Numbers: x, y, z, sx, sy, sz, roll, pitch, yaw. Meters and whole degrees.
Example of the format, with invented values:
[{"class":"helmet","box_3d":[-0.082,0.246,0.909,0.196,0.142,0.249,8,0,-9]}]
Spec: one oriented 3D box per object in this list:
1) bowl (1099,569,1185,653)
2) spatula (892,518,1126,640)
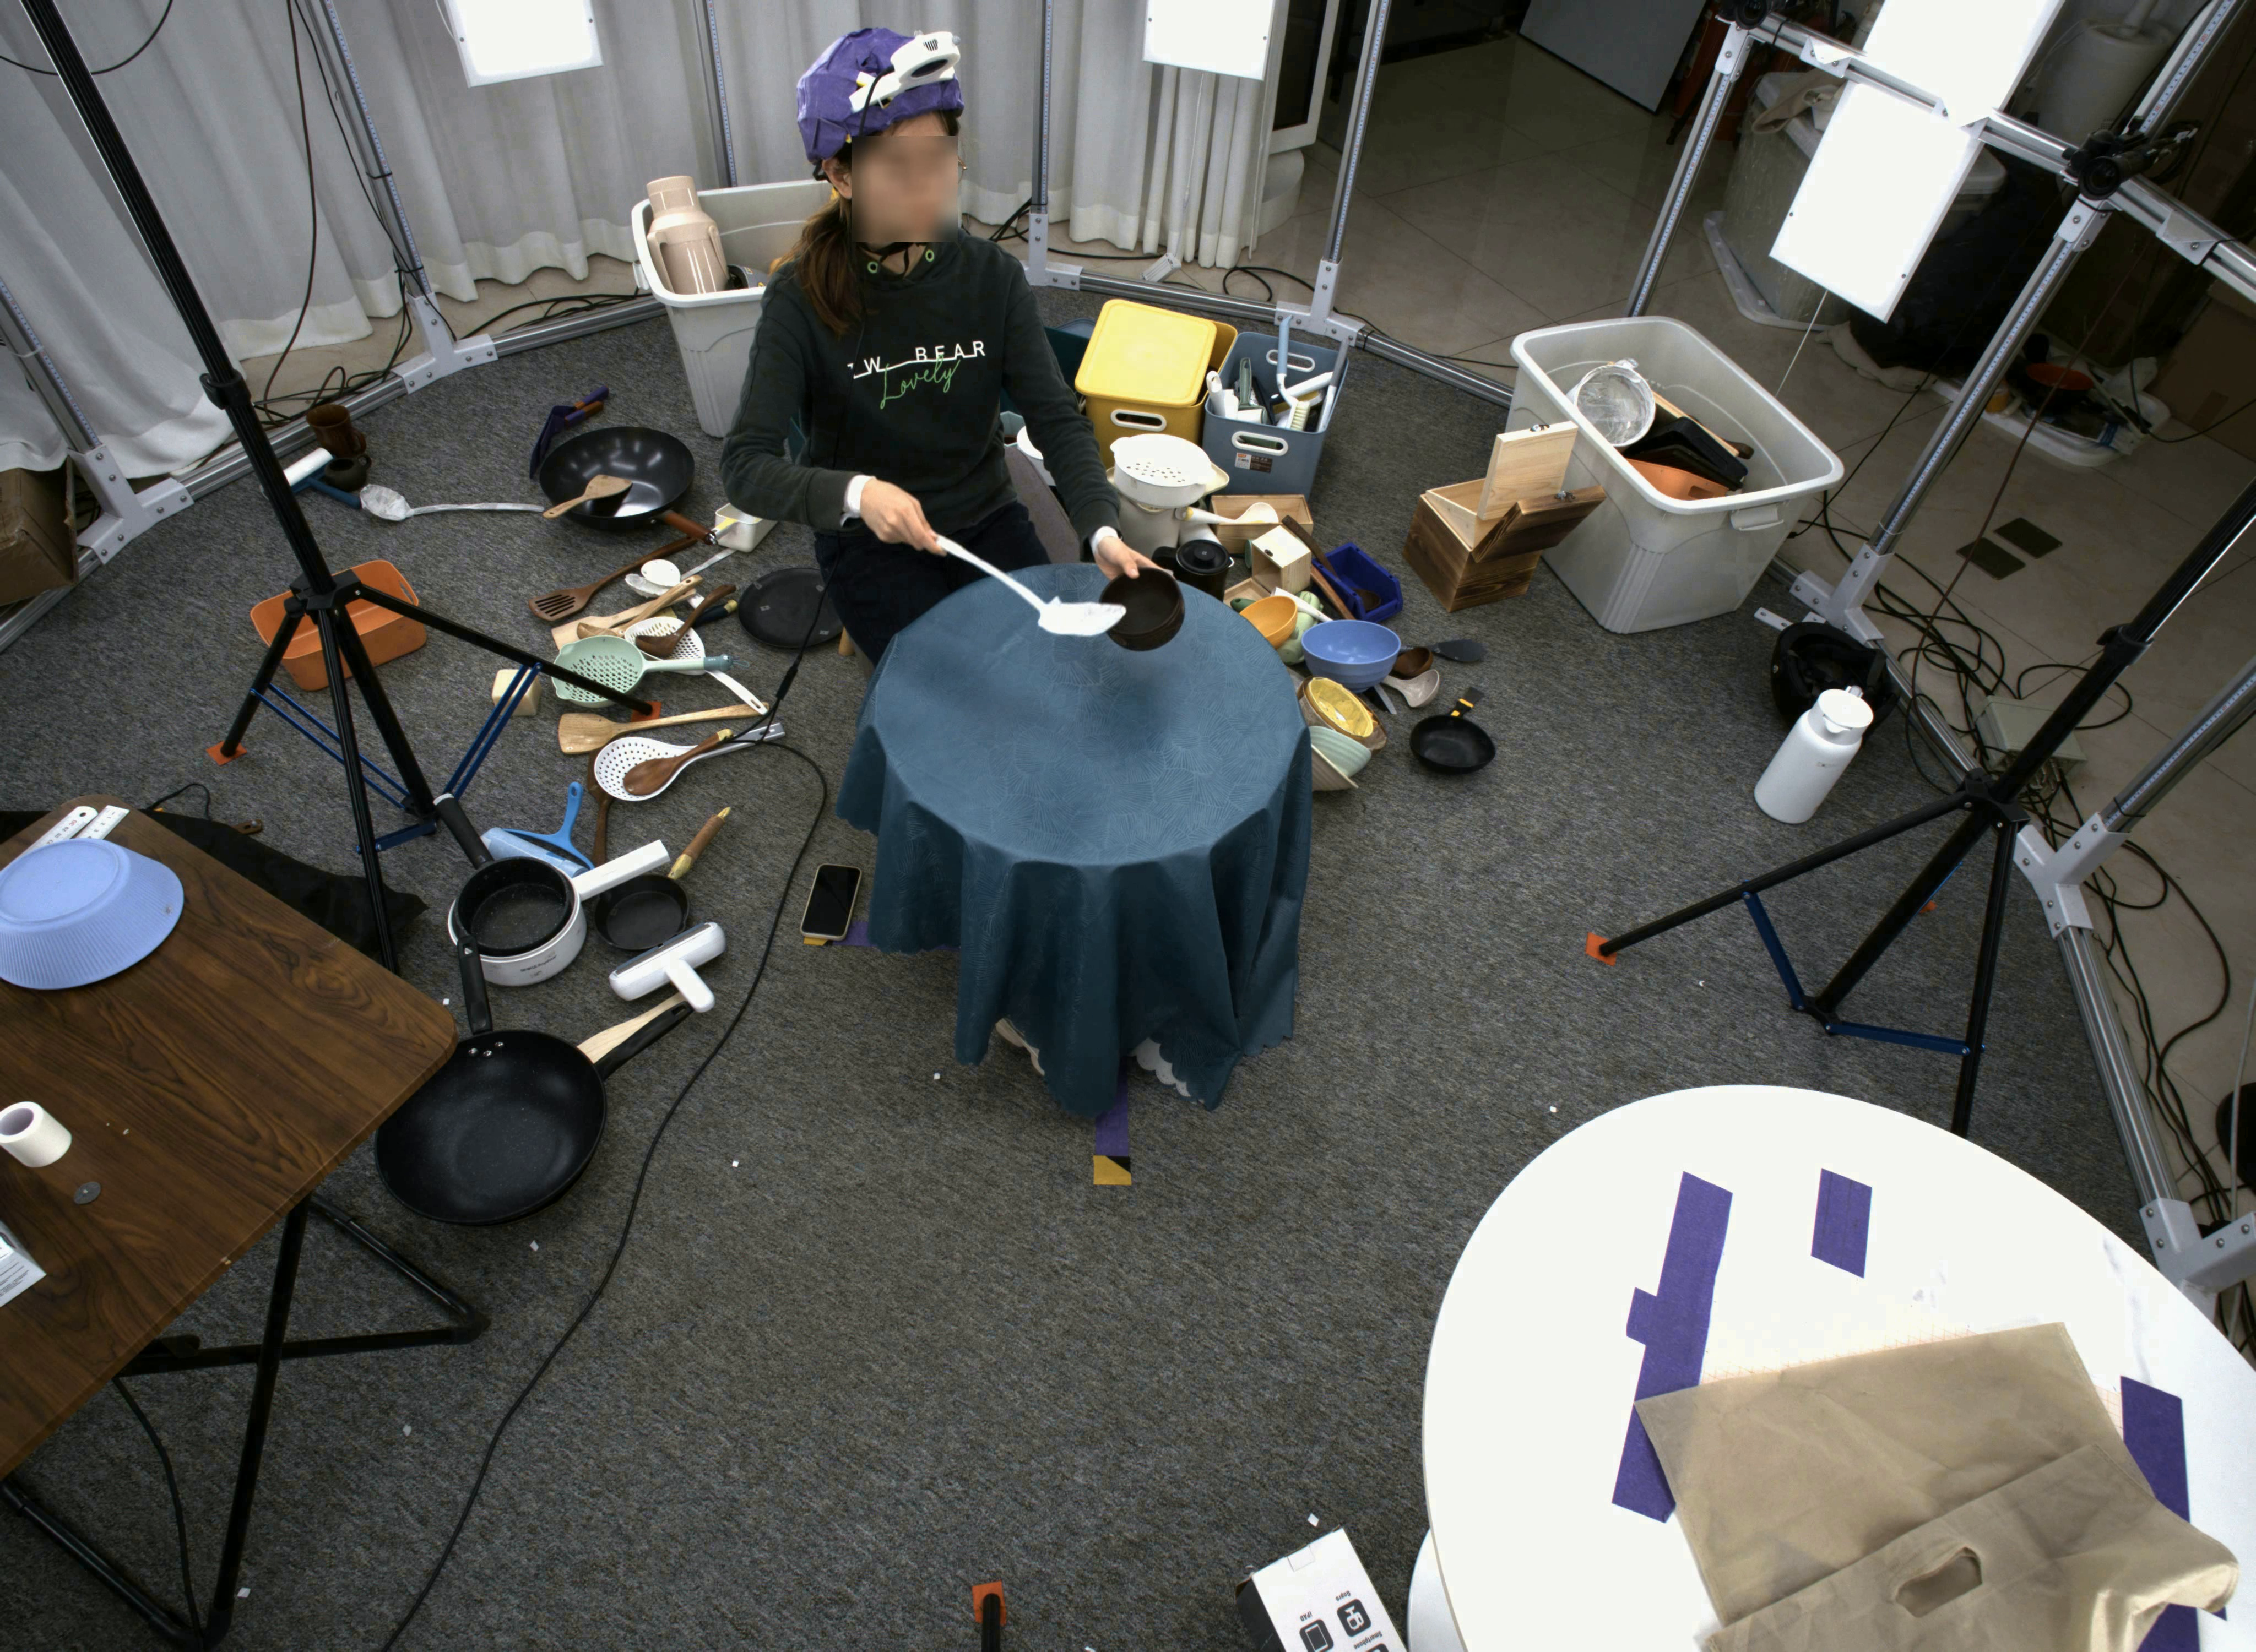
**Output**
[{"class":"bowl","box_3d":[0.023,-0.291,1.785,0.118,0.068,0.121,-7,58,11]},{"class":"spatula","box_3d":[-0.170,-0.328,1.673,0.368,0.044,0.100,33,45,16]}]
